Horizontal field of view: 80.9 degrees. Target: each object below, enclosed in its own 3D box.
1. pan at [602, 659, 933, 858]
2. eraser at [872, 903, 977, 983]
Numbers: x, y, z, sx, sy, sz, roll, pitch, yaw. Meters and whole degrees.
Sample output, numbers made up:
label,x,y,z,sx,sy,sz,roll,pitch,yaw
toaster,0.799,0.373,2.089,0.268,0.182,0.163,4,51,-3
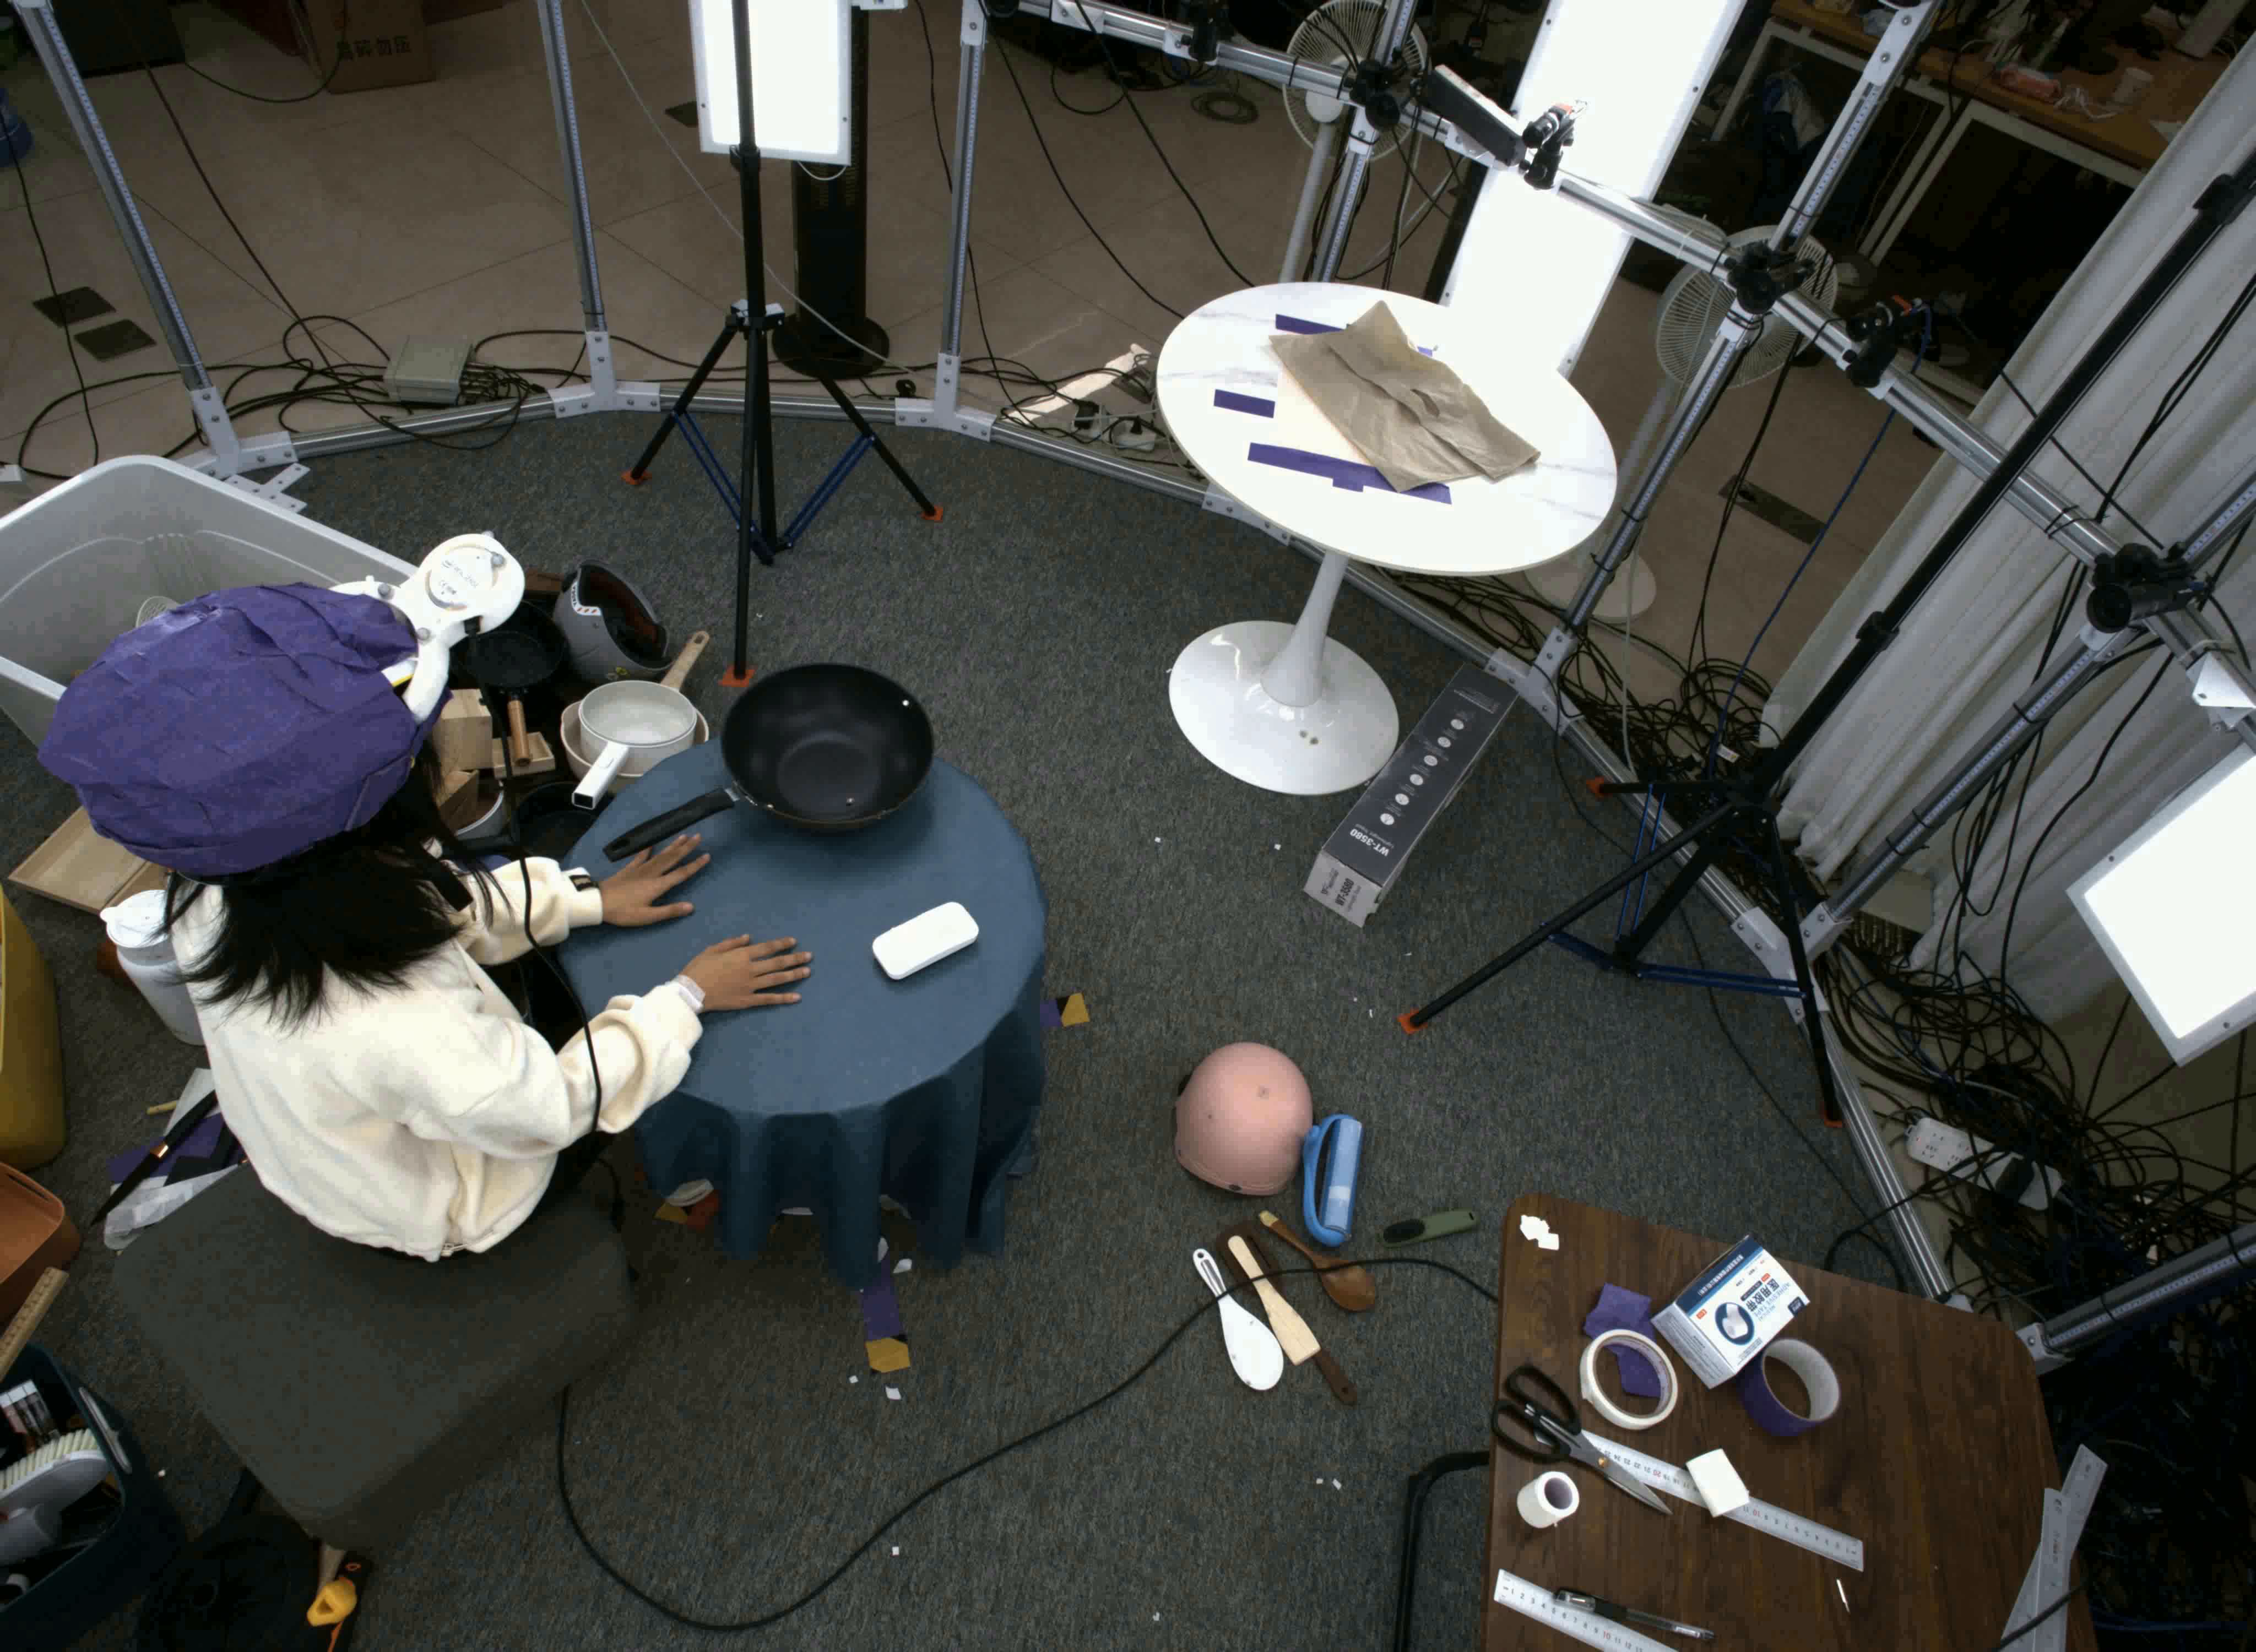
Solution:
label,x,y,z,sx,sy,sz,roll,pitch,yaw
pan,-0.469,-0.052,1.693,0.464,0.088,0.281,-33,67,-31
eraser,-0.256,0.143,1.637,0.132,0.035,0.062,-27,61,-30
